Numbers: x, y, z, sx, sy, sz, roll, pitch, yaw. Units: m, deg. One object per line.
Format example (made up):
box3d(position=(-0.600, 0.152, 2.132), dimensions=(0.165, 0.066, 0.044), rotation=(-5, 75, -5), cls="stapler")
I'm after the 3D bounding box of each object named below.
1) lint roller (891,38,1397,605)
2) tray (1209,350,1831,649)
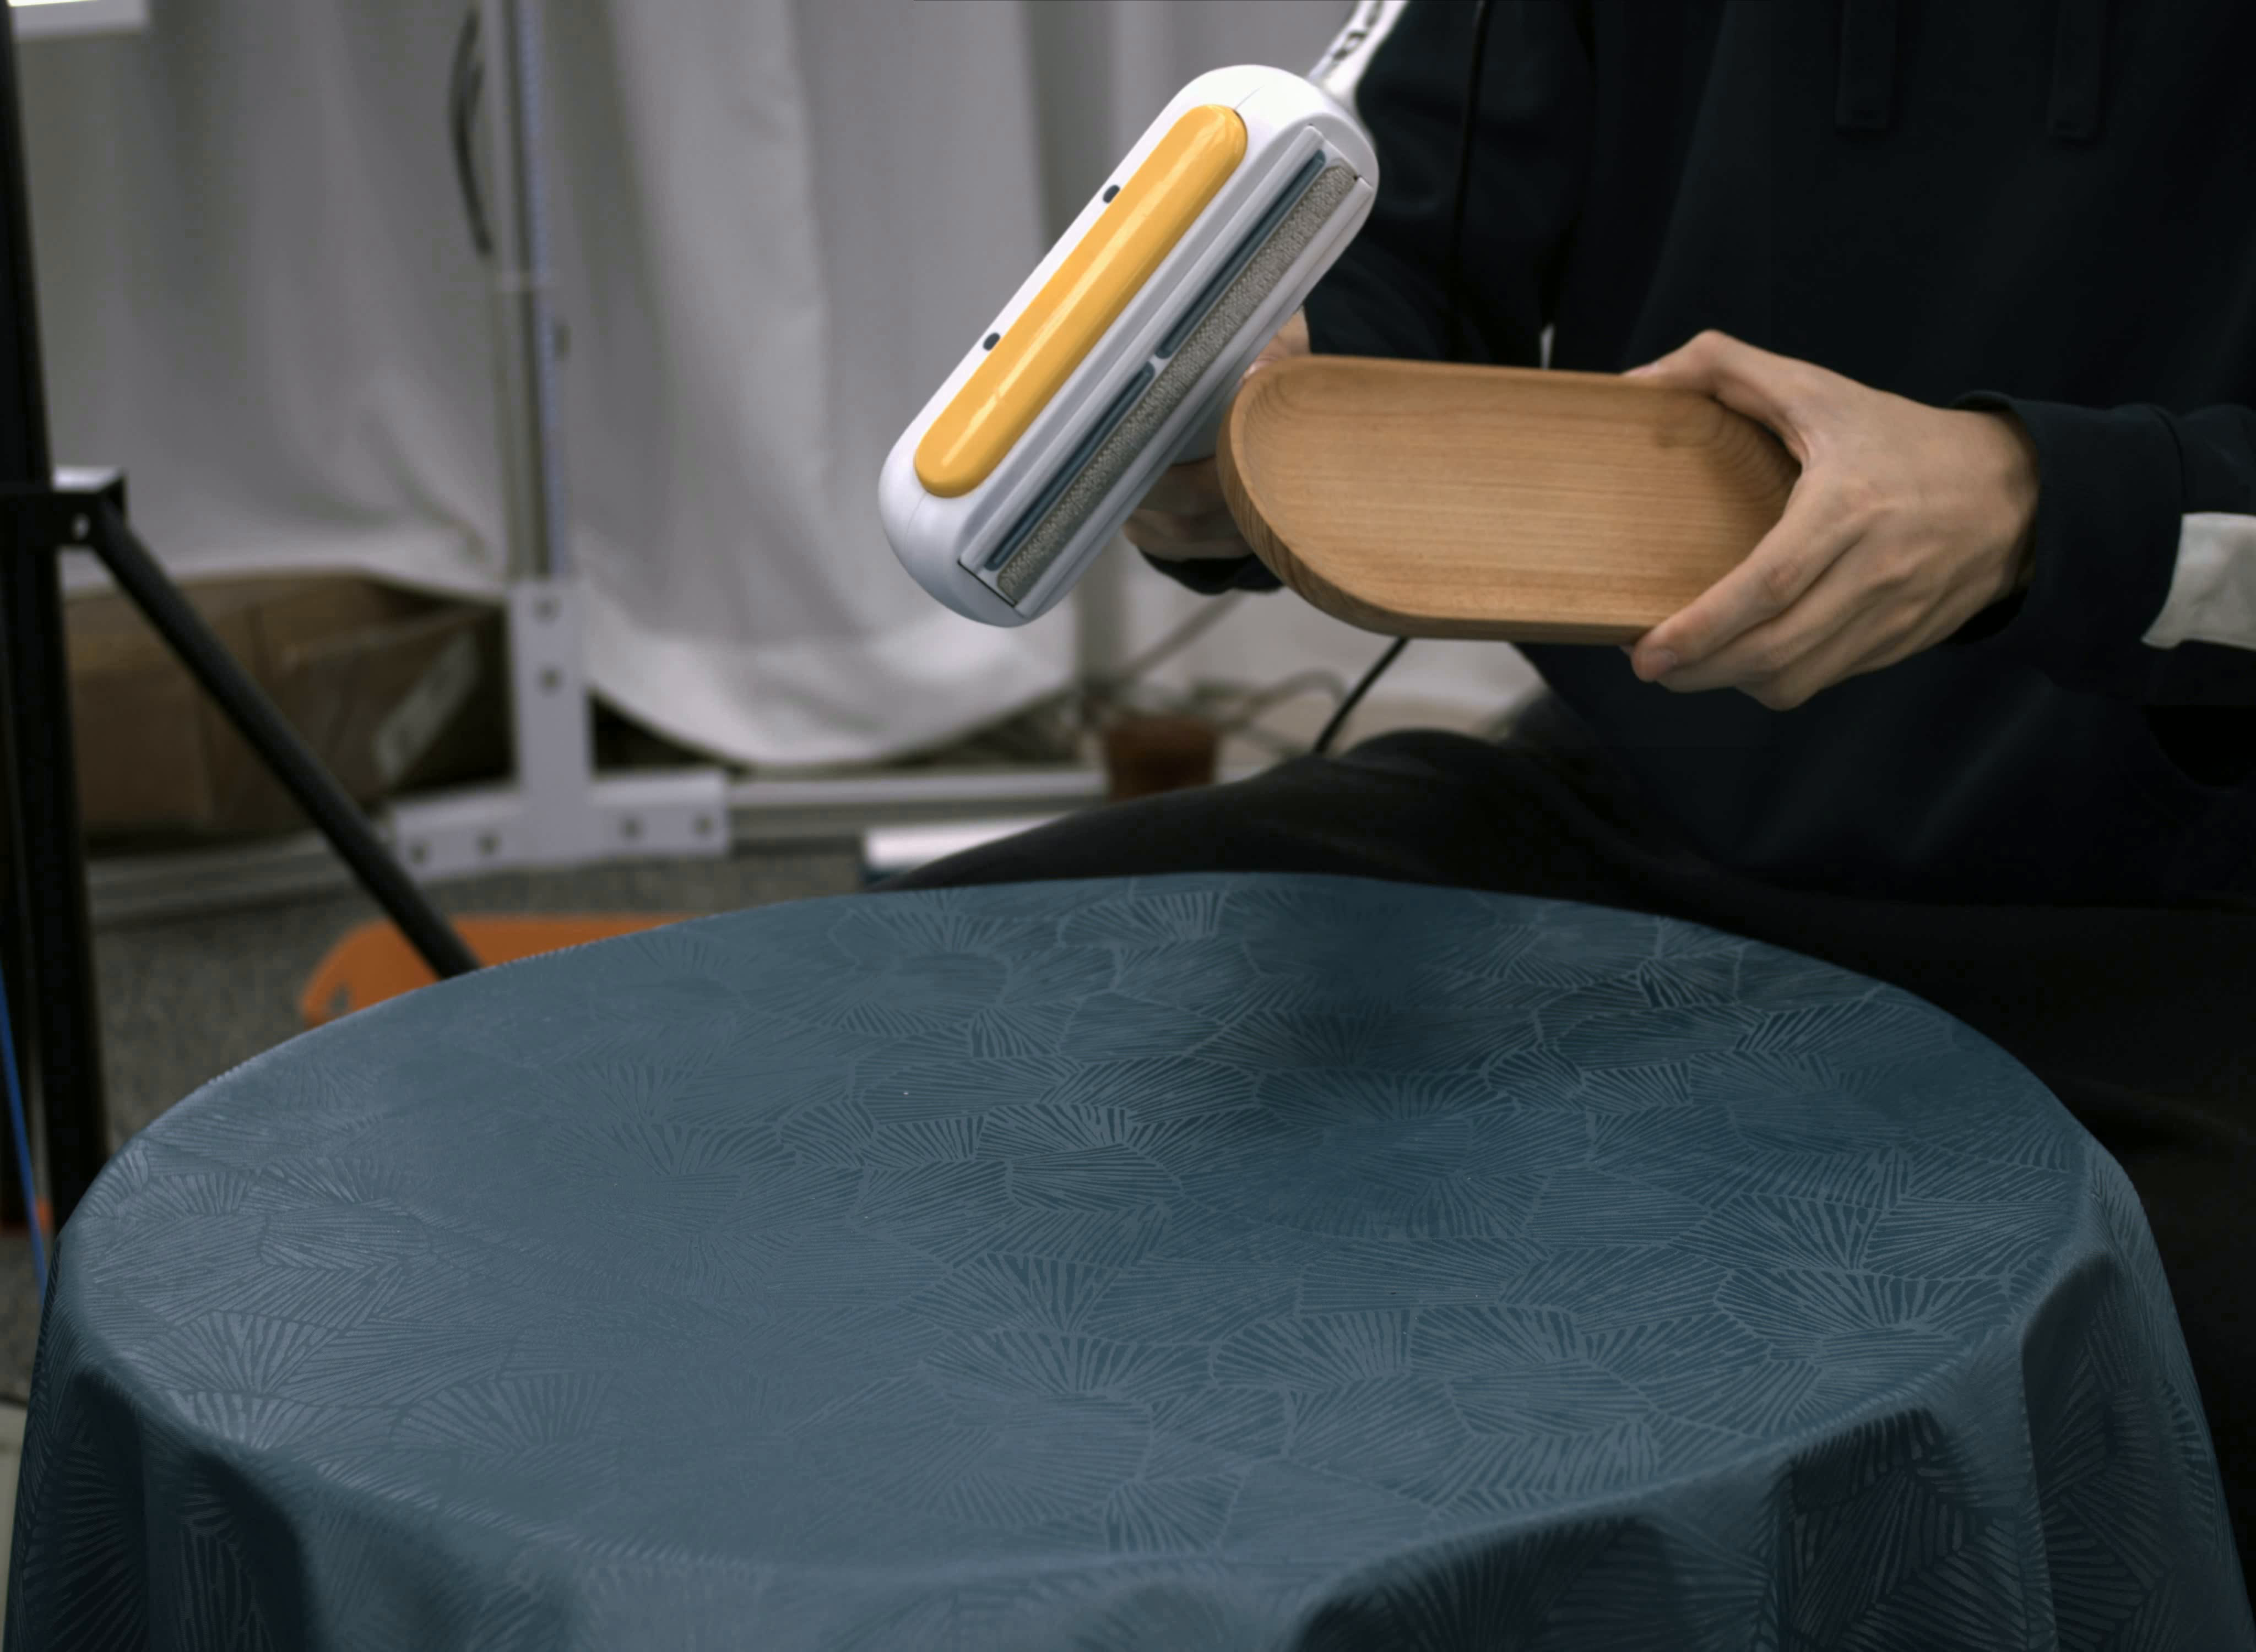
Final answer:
box3d(position=(0.019, -0.134, 1.669), dimensions=(0.076, 0.193, 0.188), rotation=(34, -5, 31), cls="lint roller")
box3d(position=(0.122, -0.097, 1.626), dimensions=(0.225, 0.020, 0.103), rotation=(0, 54, -33), cls="tray")
